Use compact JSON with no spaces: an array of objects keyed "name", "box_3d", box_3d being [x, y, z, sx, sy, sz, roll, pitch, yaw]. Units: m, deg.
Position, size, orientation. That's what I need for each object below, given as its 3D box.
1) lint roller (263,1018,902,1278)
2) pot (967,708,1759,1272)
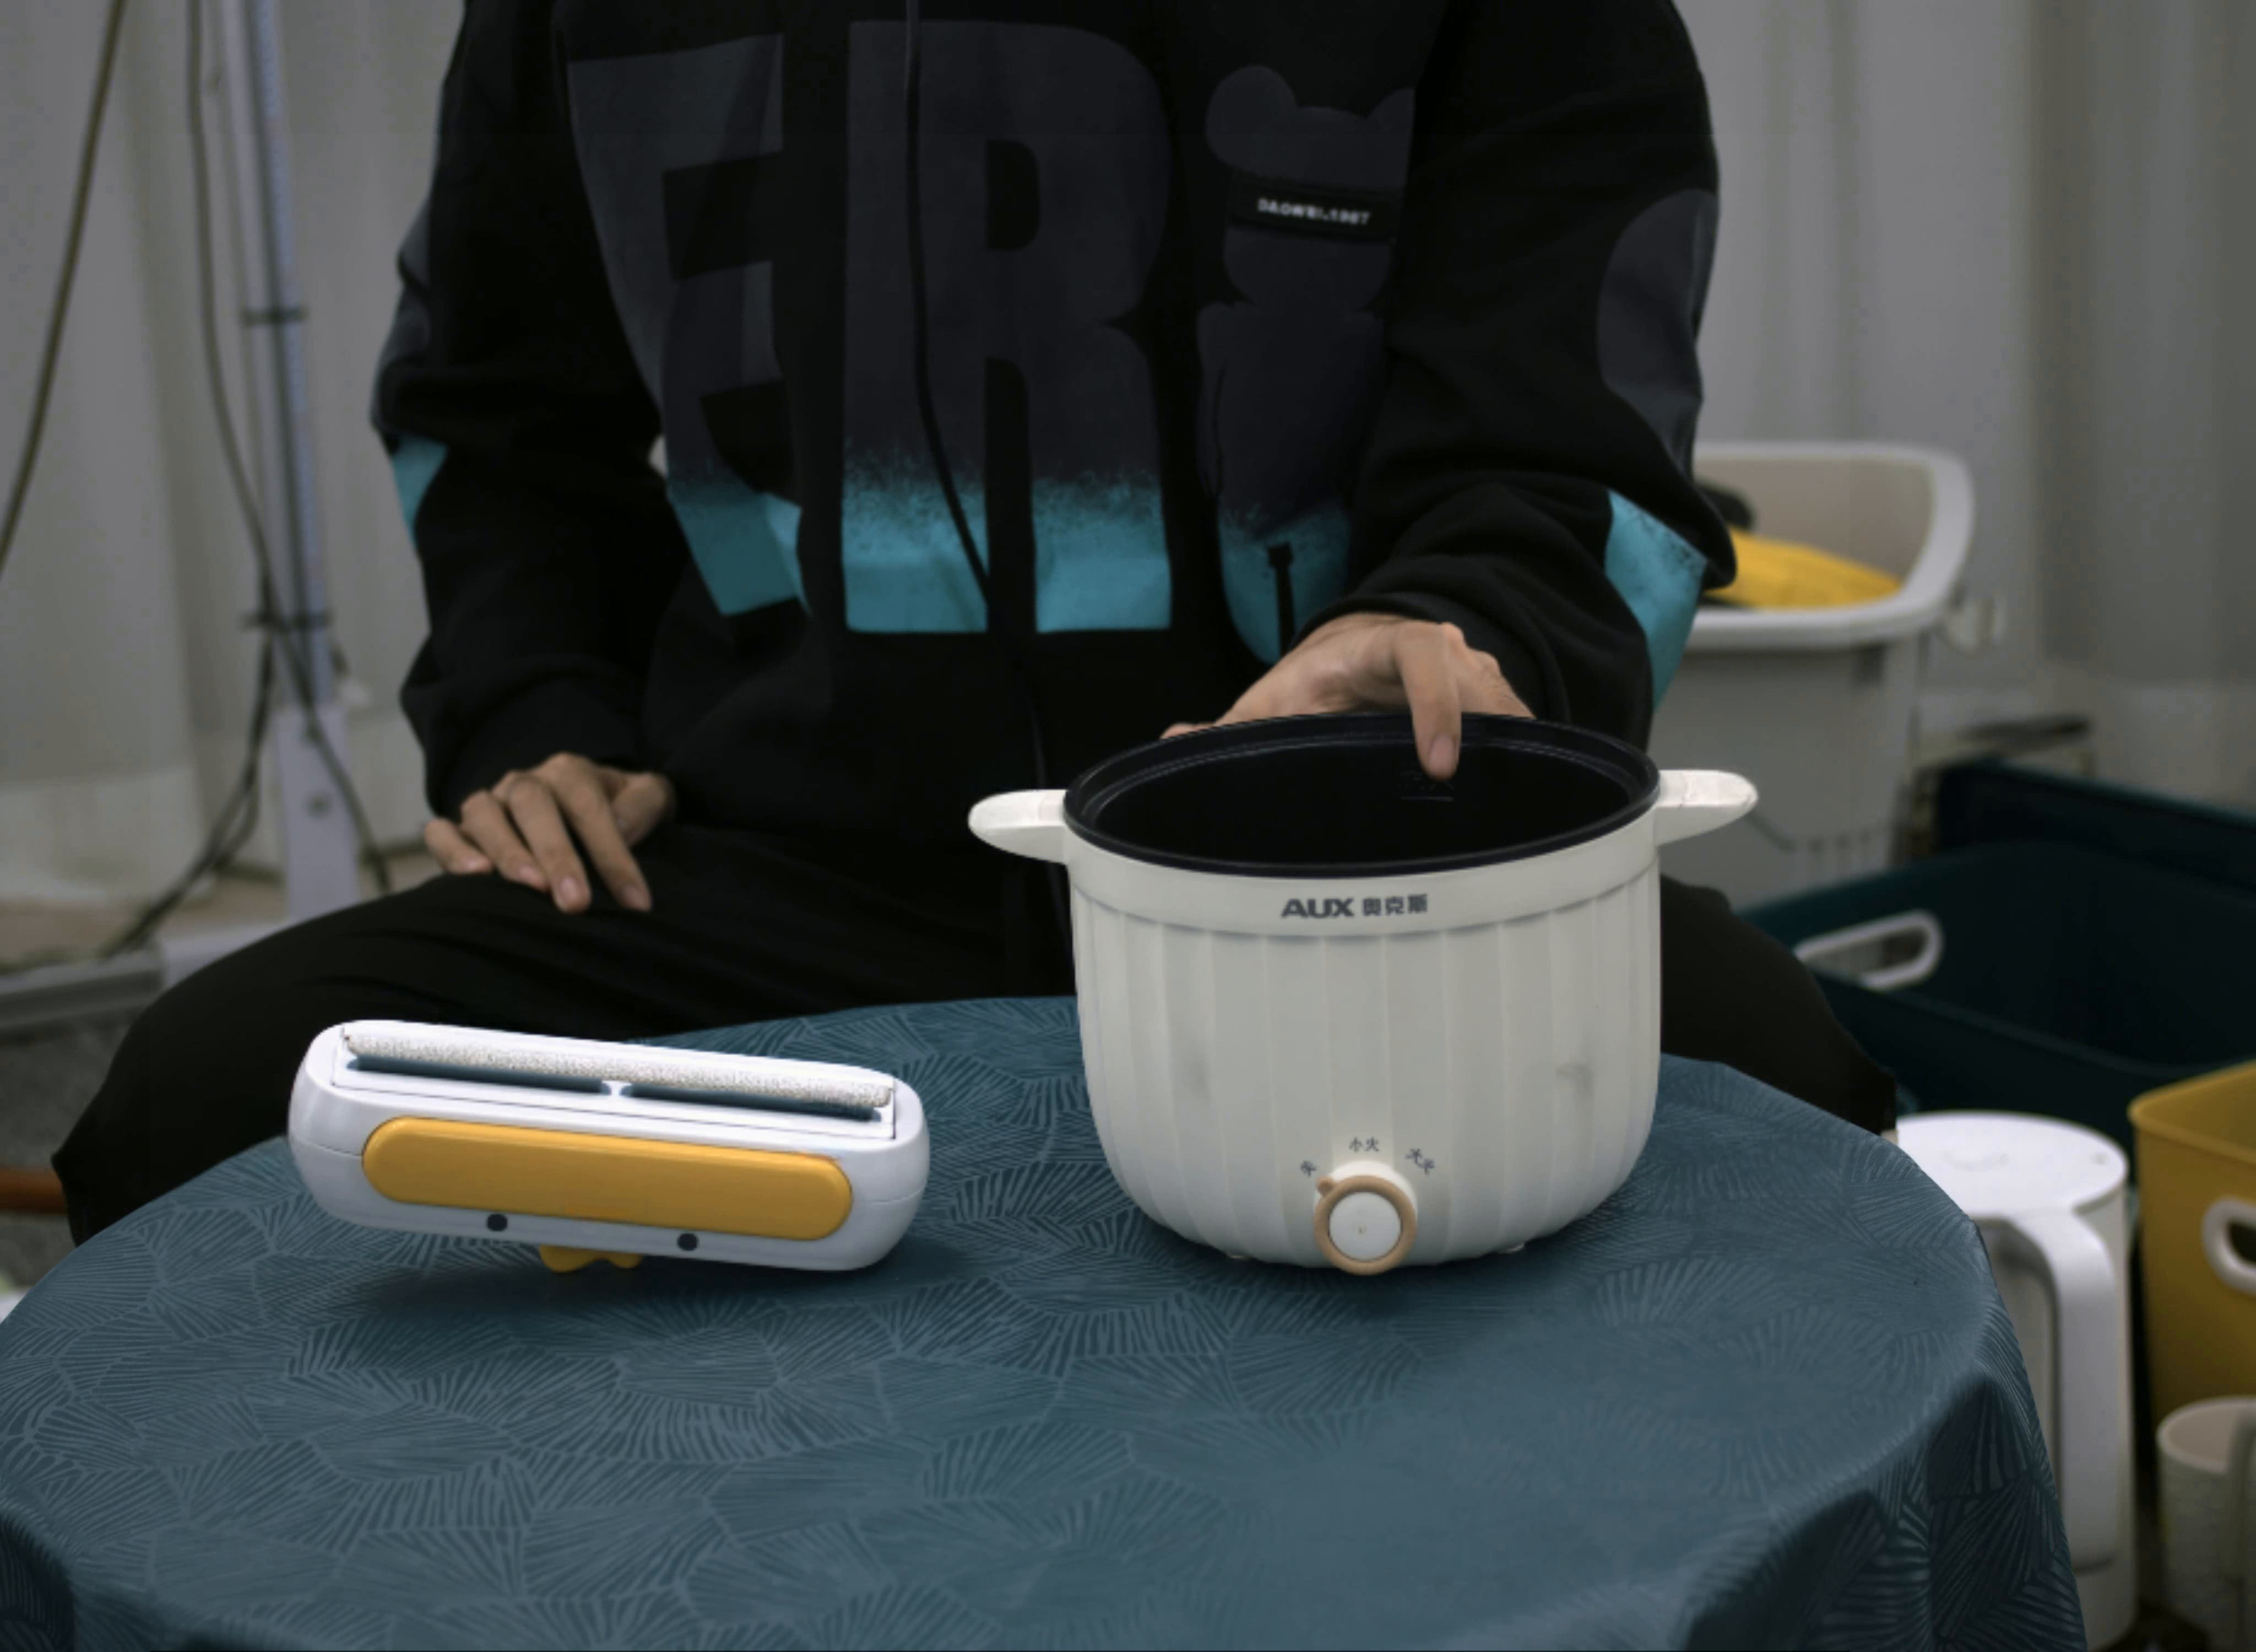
[{"name":"lint roller","box_3d":[-0.165,0.090,1.711,0.192,0.074,0.193,3,13,-1]},{"name":"pot","box_3d":[0.074,0.052,1.663,0.240,0.142,0.191,-3,12,5]}]
